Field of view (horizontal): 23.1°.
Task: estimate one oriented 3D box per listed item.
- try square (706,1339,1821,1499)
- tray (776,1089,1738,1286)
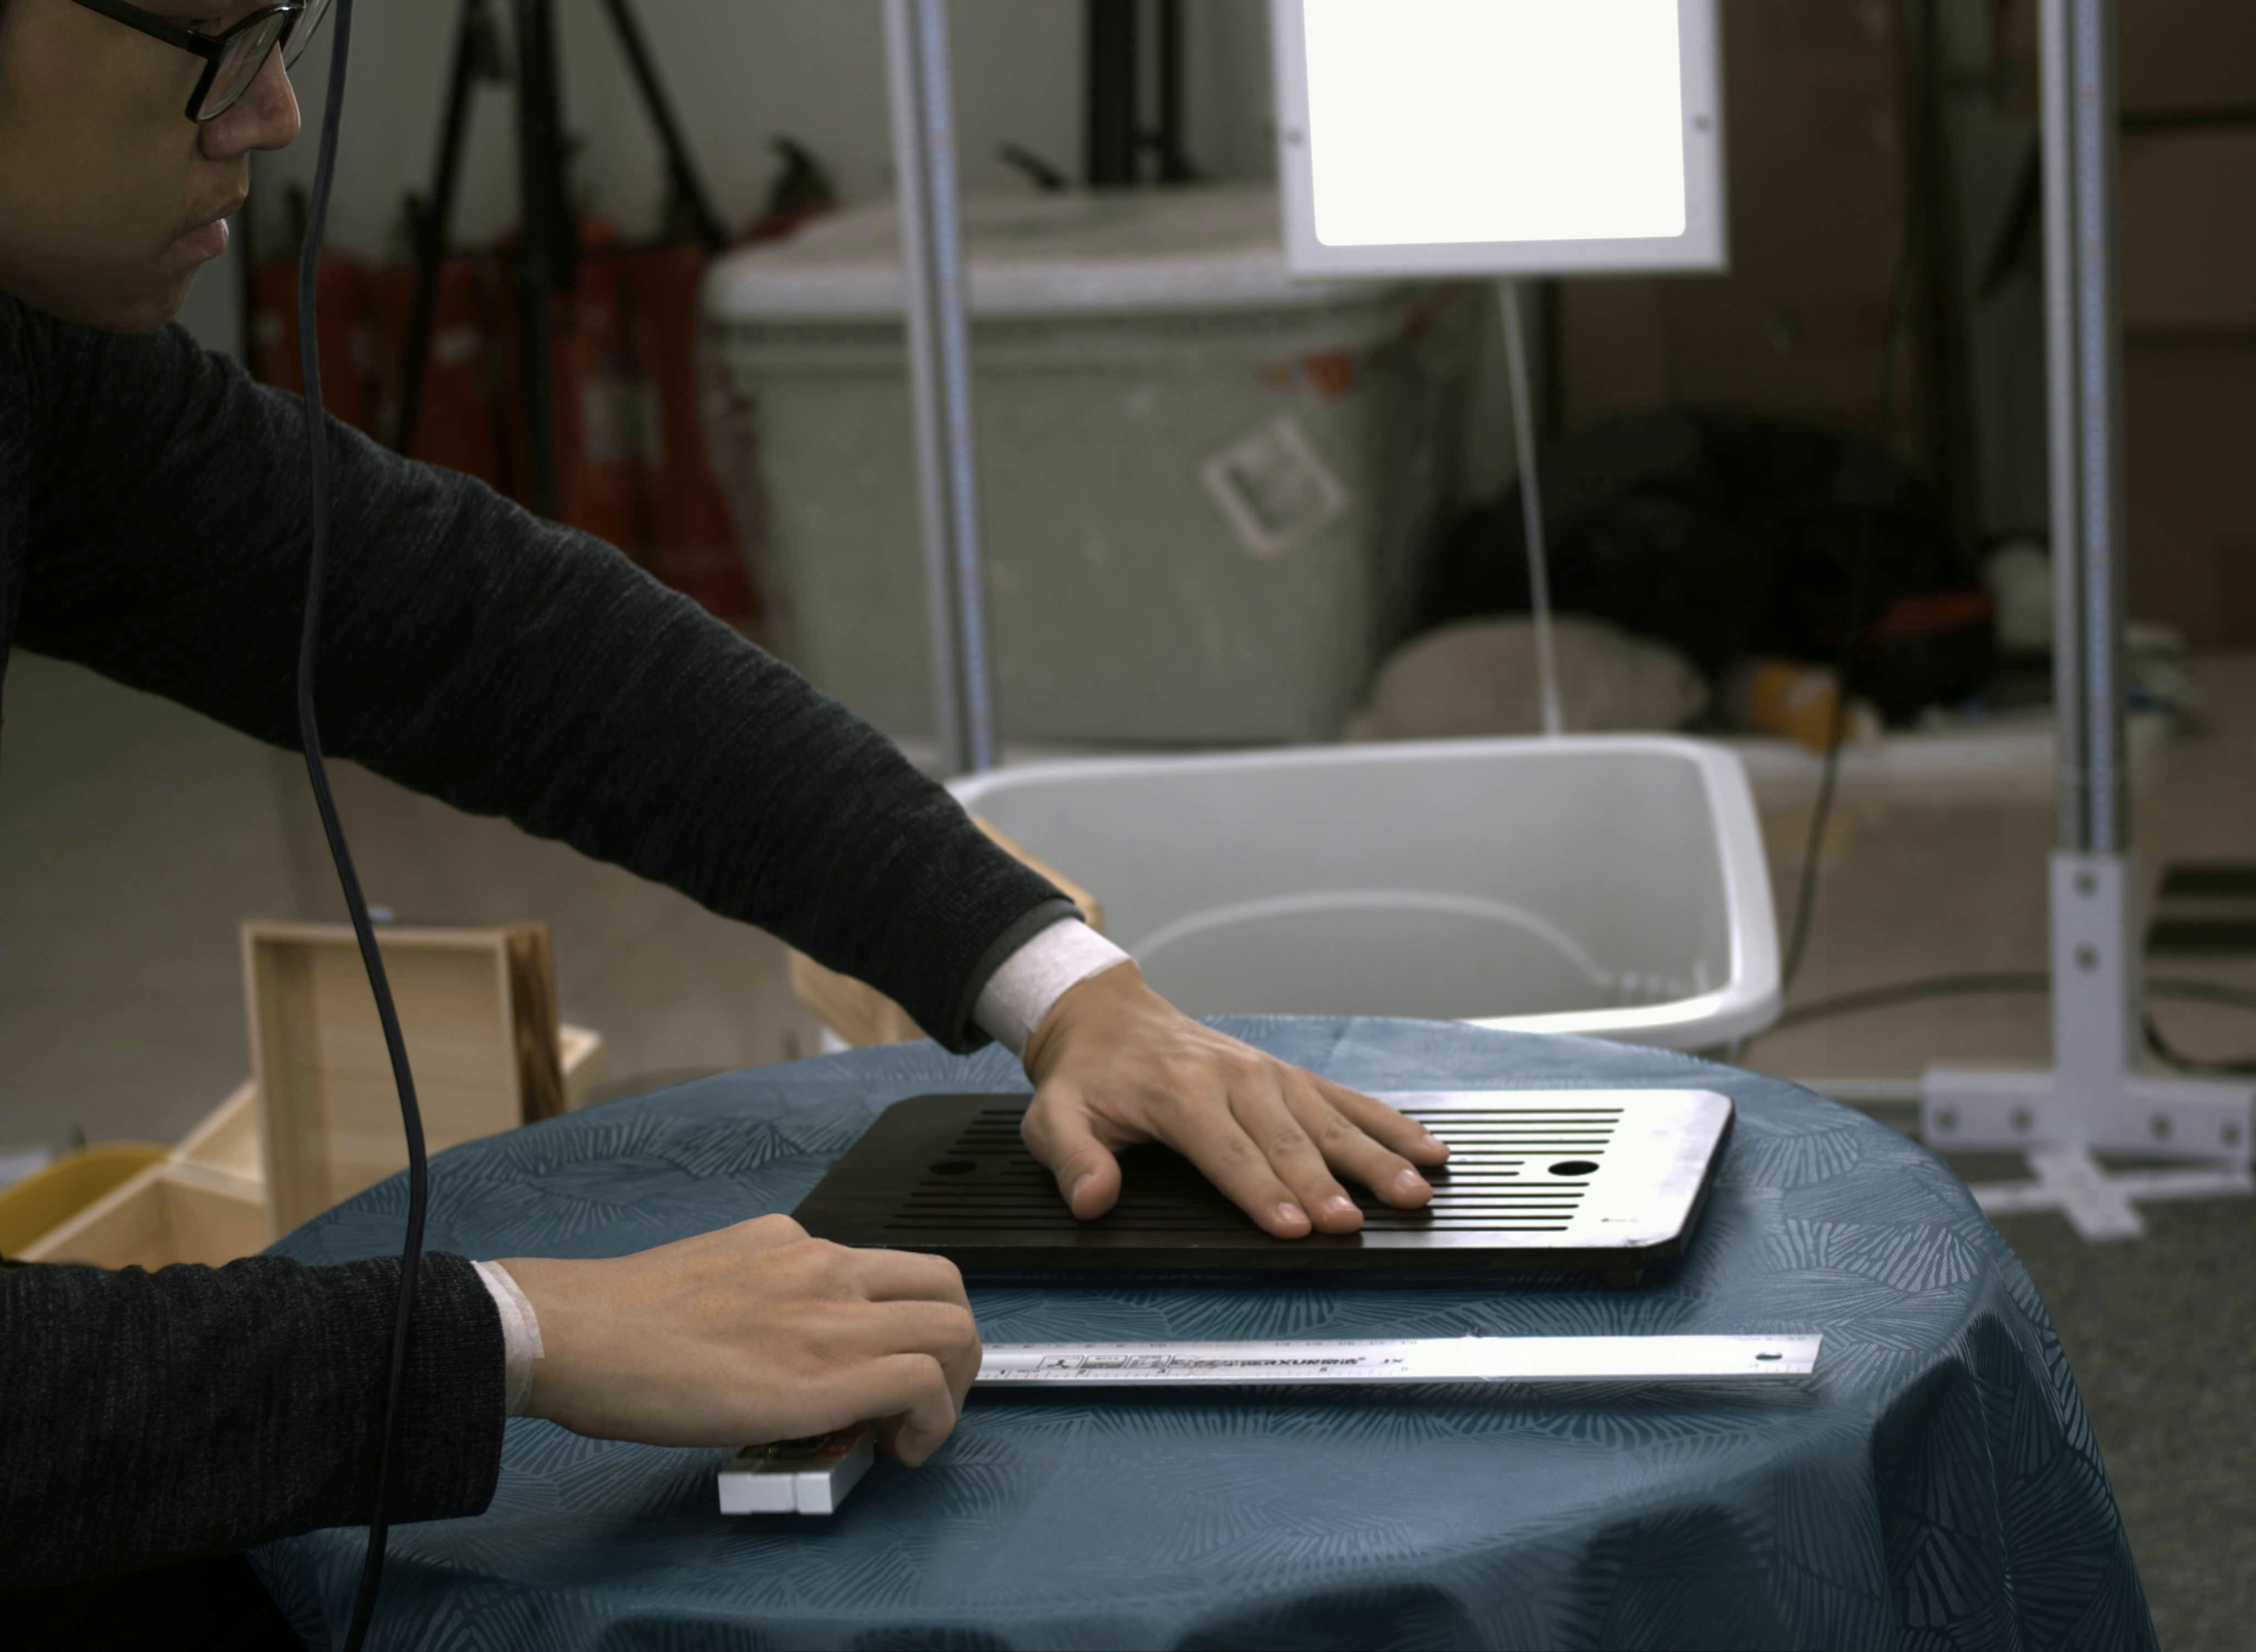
[{"bbox_3d":[0.043,0.173,1.636,0.316,0.016,0.150,-2,9,16],"label":"try square"},{"bbox_3d":[0.047,0.122,1.864,0.309,0.019,0.168,-1,15,16],"label":"tray"}]
